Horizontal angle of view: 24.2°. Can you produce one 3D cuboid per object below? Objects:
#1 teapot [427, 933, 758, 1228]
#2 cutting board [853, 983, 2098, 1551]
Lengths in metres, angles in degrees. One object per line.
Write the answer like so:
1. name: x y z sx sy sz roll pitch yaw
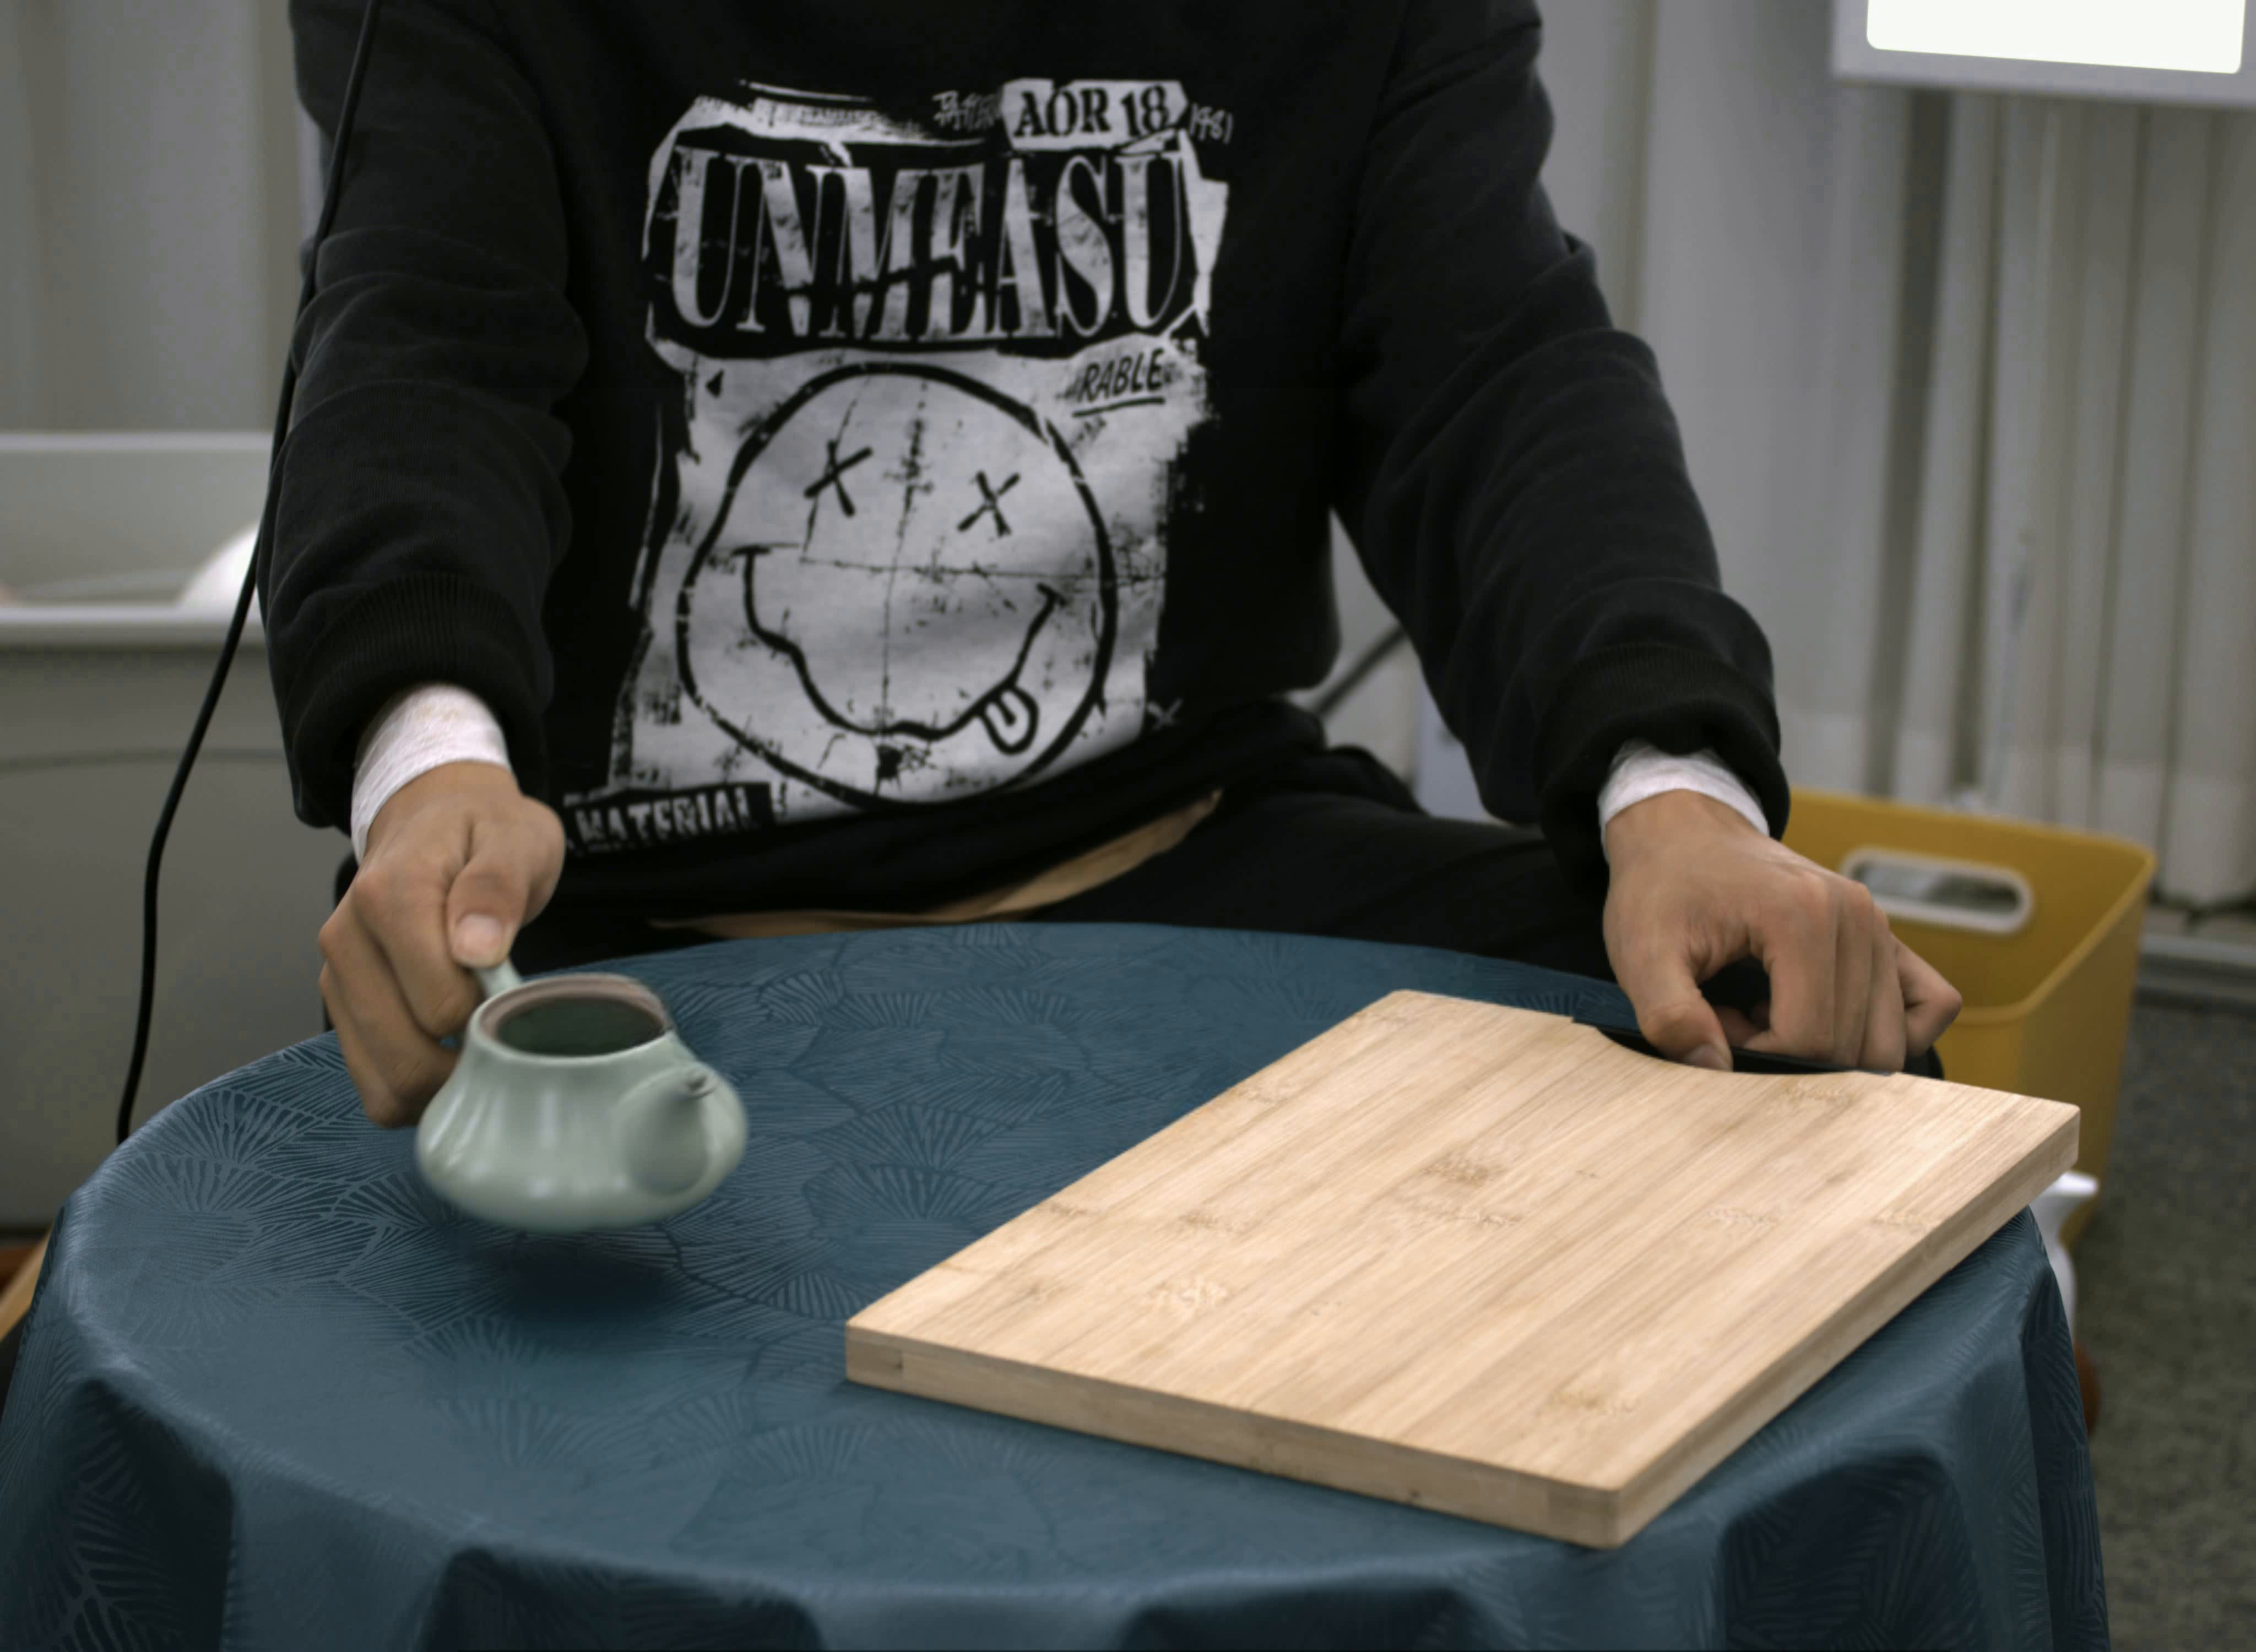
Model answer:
1. teapot: -0.159 0.075 1.535 0.096 0.062 0.135 -22 33 -39
2. cutting board: 0.111 0.119 1.555 0.248 0.024 0.349 9 19 27
